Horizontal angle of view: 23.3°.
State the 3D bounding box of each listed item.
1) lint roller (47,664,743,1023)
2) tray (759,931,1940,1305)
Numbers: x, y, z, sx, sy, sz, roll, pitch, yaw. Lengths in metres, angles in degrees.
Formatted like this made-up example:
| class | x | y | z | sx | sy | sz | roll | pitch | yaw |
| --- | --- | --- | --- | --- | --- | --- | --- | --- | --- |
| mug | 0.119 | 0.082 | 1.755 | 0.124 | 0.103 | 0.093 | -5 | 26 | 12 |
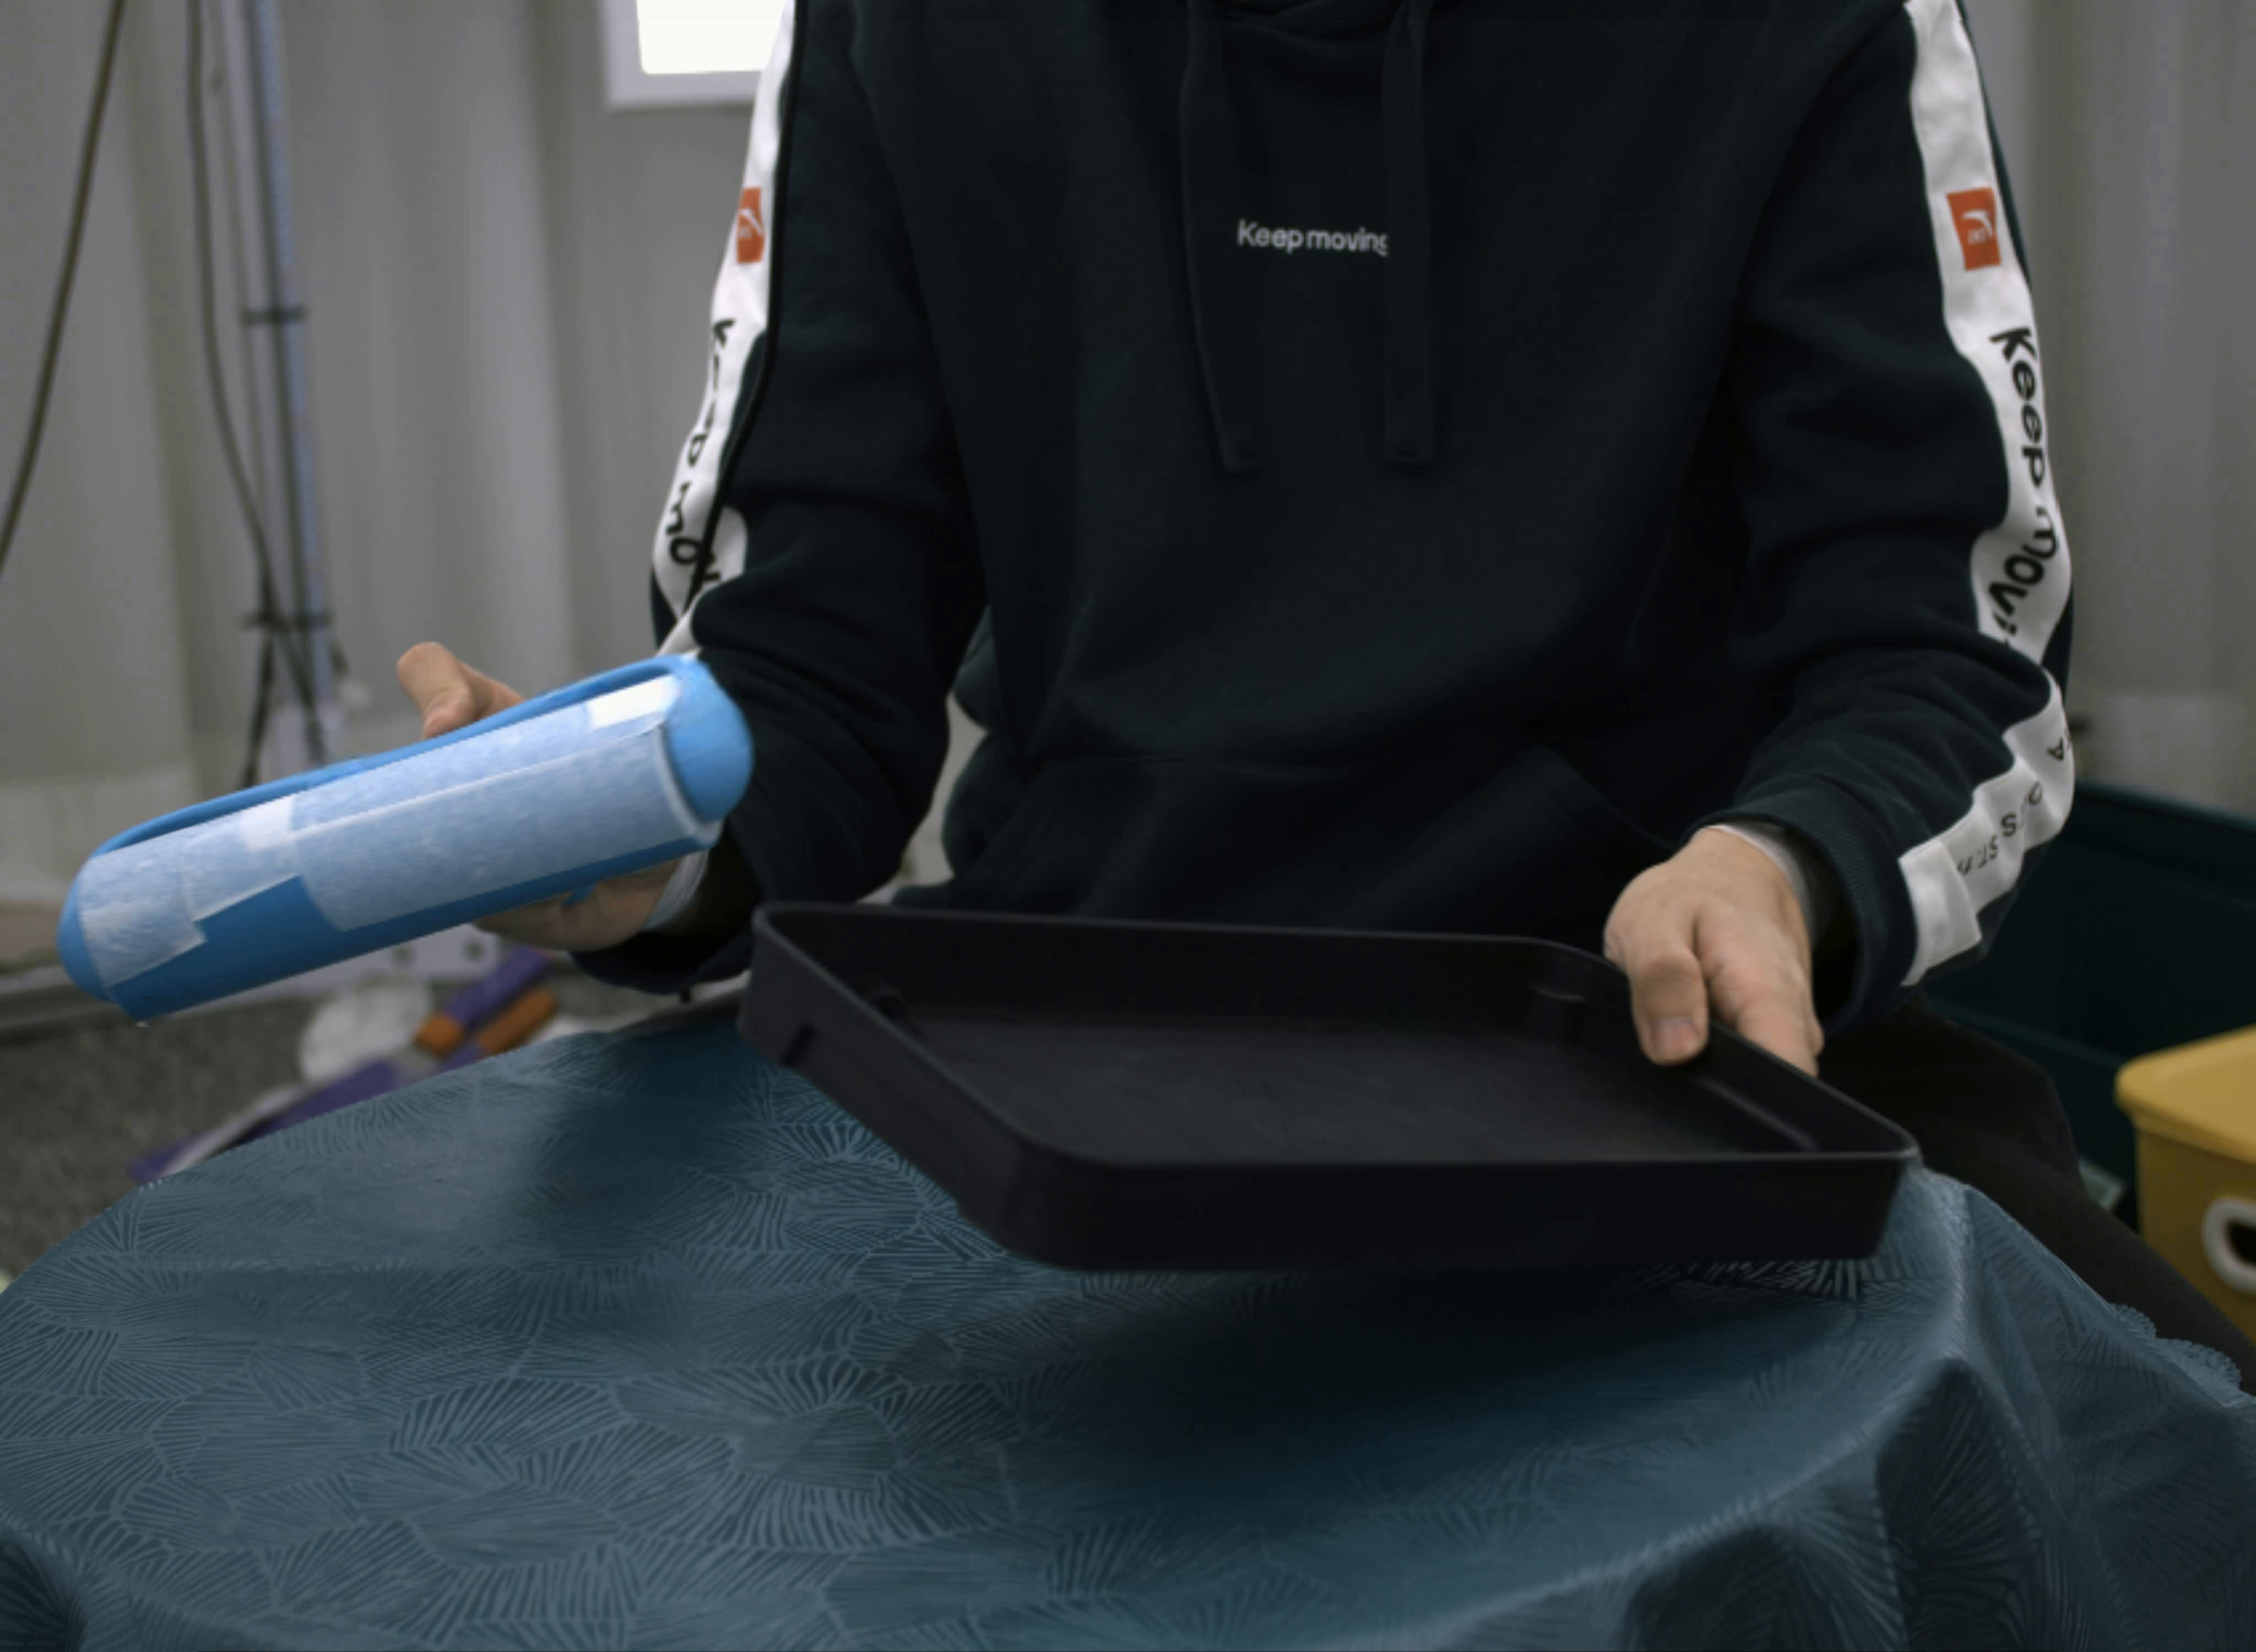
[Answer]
| class | x | y | z | sx | sy | sz | roll | pitch | yaw |
| --- | --- | --- | --- | --- | --- | --- | --- | --- | --- |
| lint roller | -0.215 | 0.005 | 1.728 | 0.228 | 0.068 | 0.180 | -18 | -1 | 10 |
| tray | 0.065 | 0.079 | 1.569 | 0.316 | 0.037 | 0.186 | 0 | 19 | -36 |
